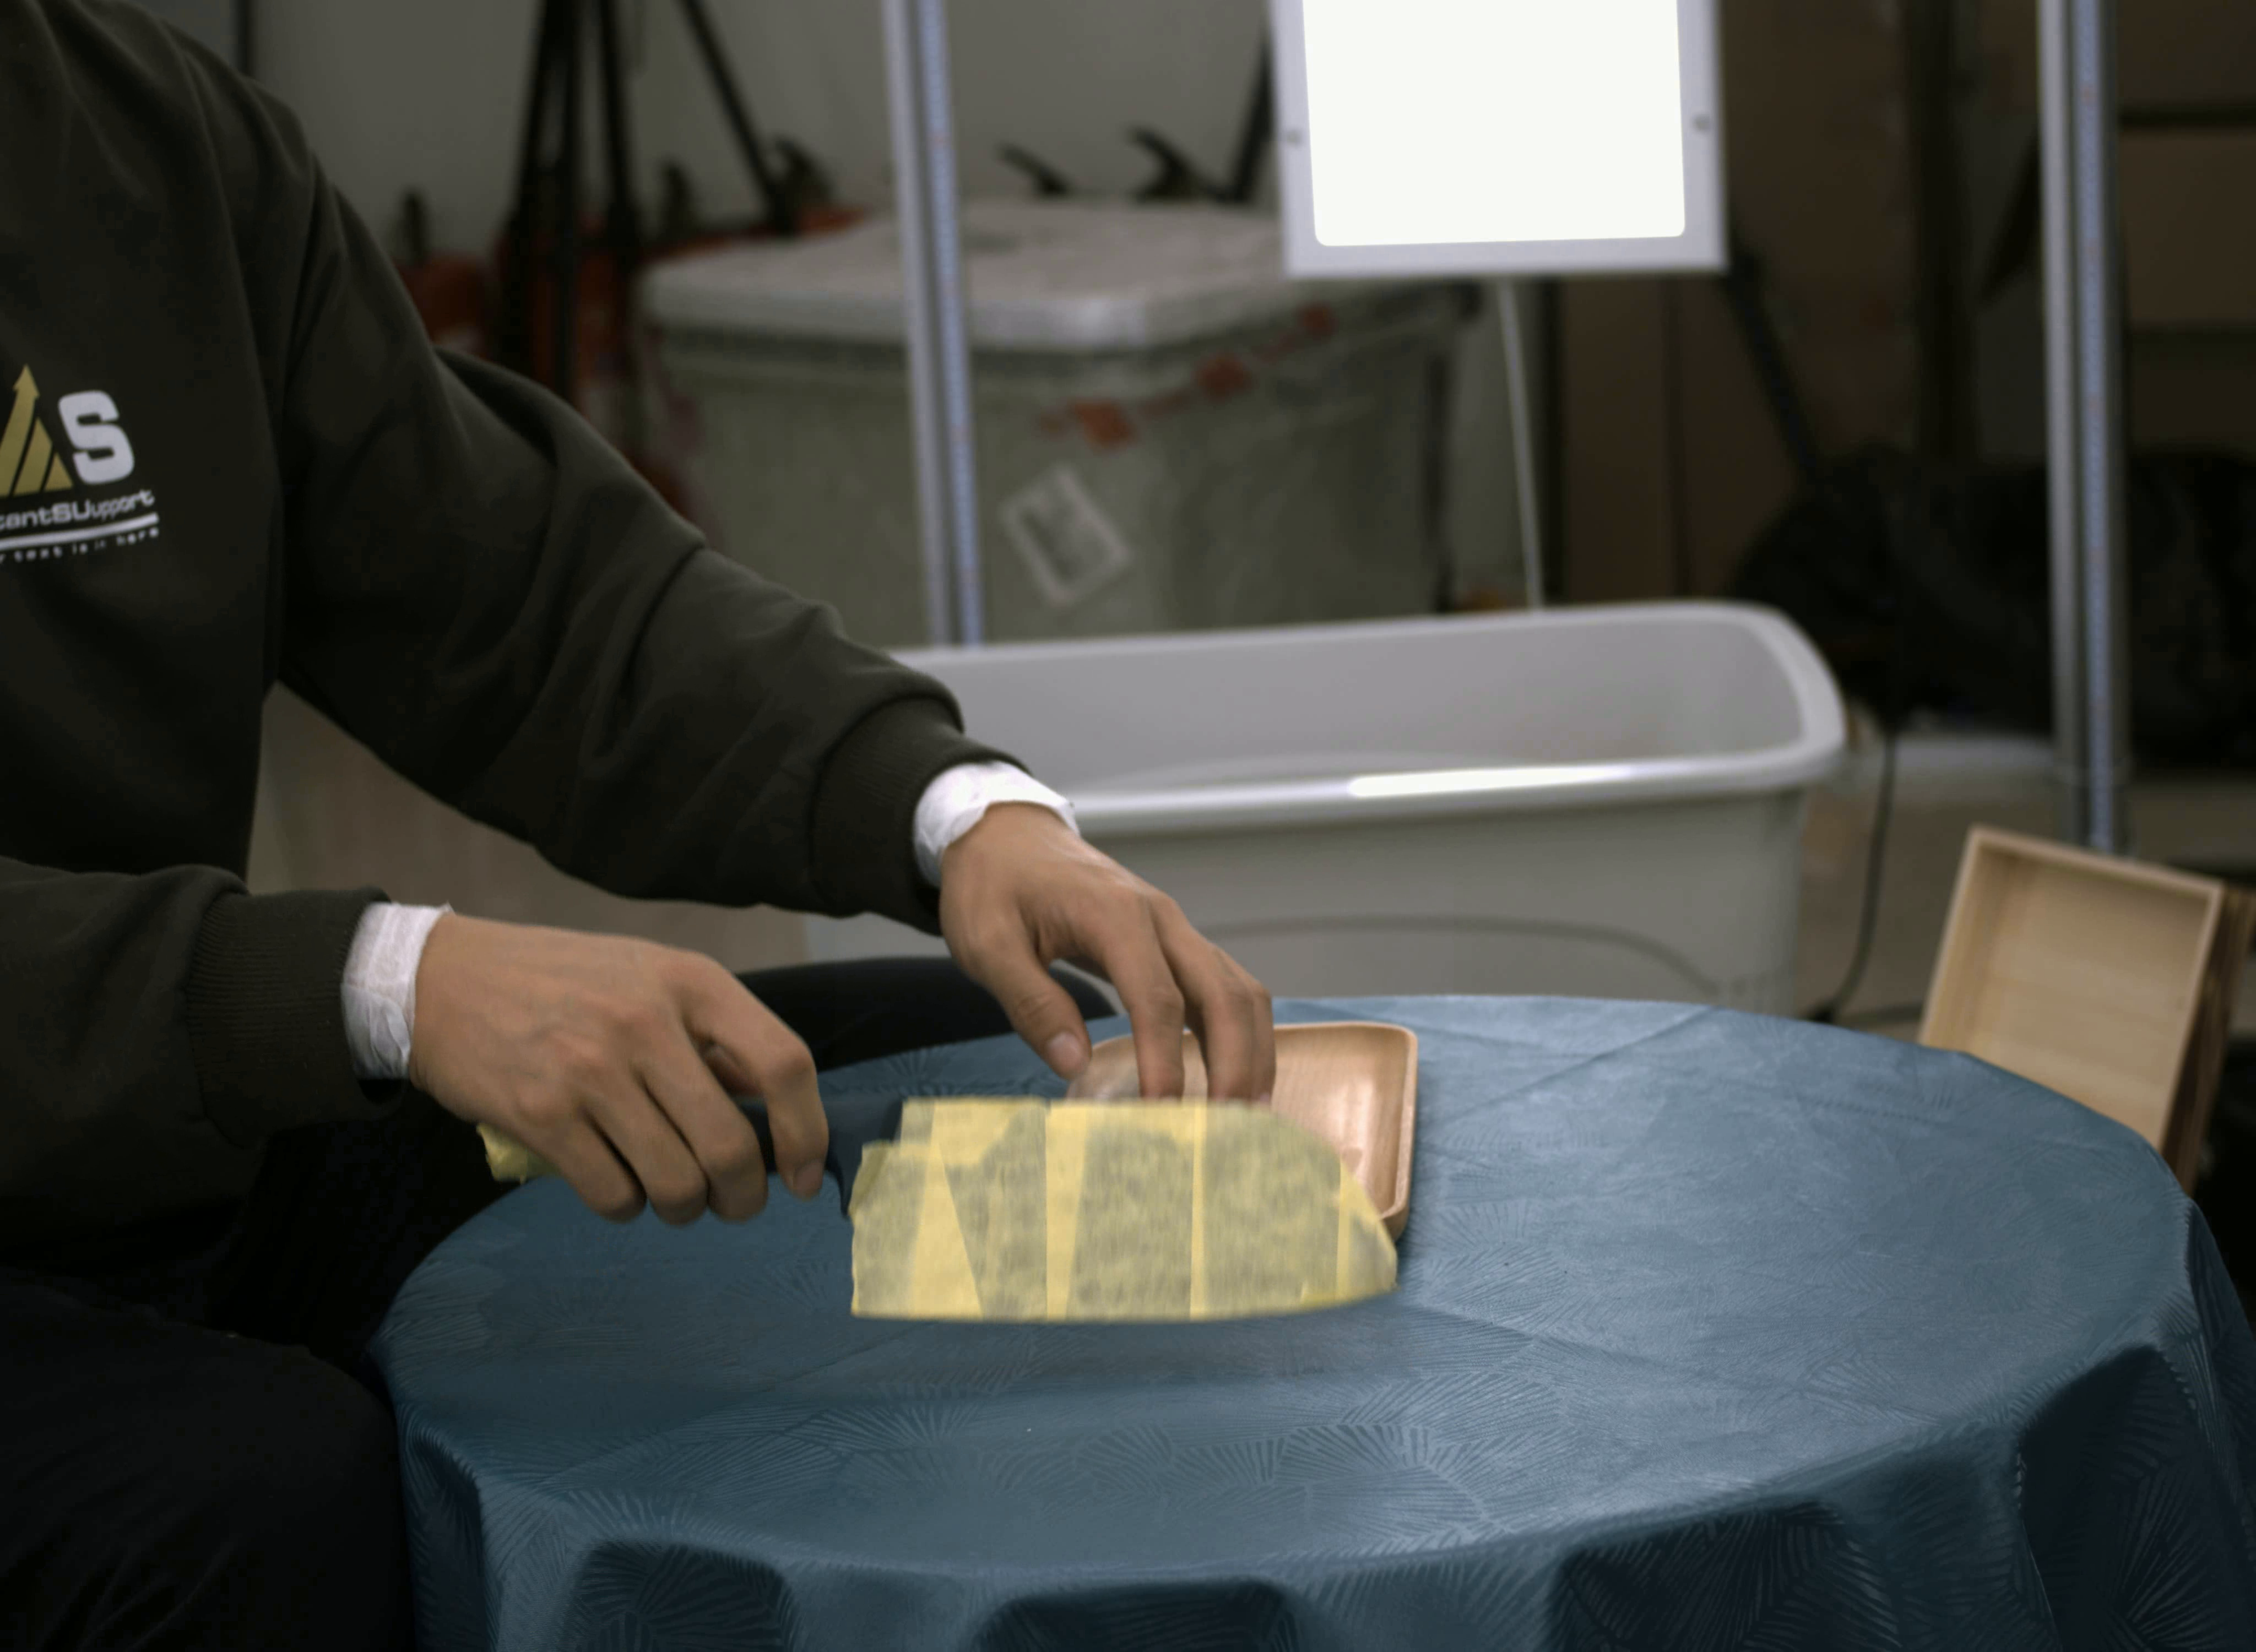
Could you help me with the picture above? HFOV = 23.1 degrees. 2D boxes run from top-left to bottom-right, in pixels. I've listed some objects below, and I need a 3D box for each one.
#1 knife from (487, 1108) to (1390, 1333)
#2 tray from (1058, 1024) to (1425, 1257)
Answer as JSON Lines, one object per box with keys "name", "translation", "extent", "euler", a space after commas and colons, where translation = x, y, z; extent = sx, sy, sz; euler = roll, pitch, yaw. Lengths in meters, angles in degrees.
{"name": "knife", "translation": [-0.061, 0.122, 1.729], "extent": [0.290, 0.081, 0.027], "euler": [2, -27, 9]}
{"name": "tray", "translation": [0.040, 0.110, 1.918], "extent": [0.131, 0.023, 0.249], "euler": [-6, 13, 6]}
